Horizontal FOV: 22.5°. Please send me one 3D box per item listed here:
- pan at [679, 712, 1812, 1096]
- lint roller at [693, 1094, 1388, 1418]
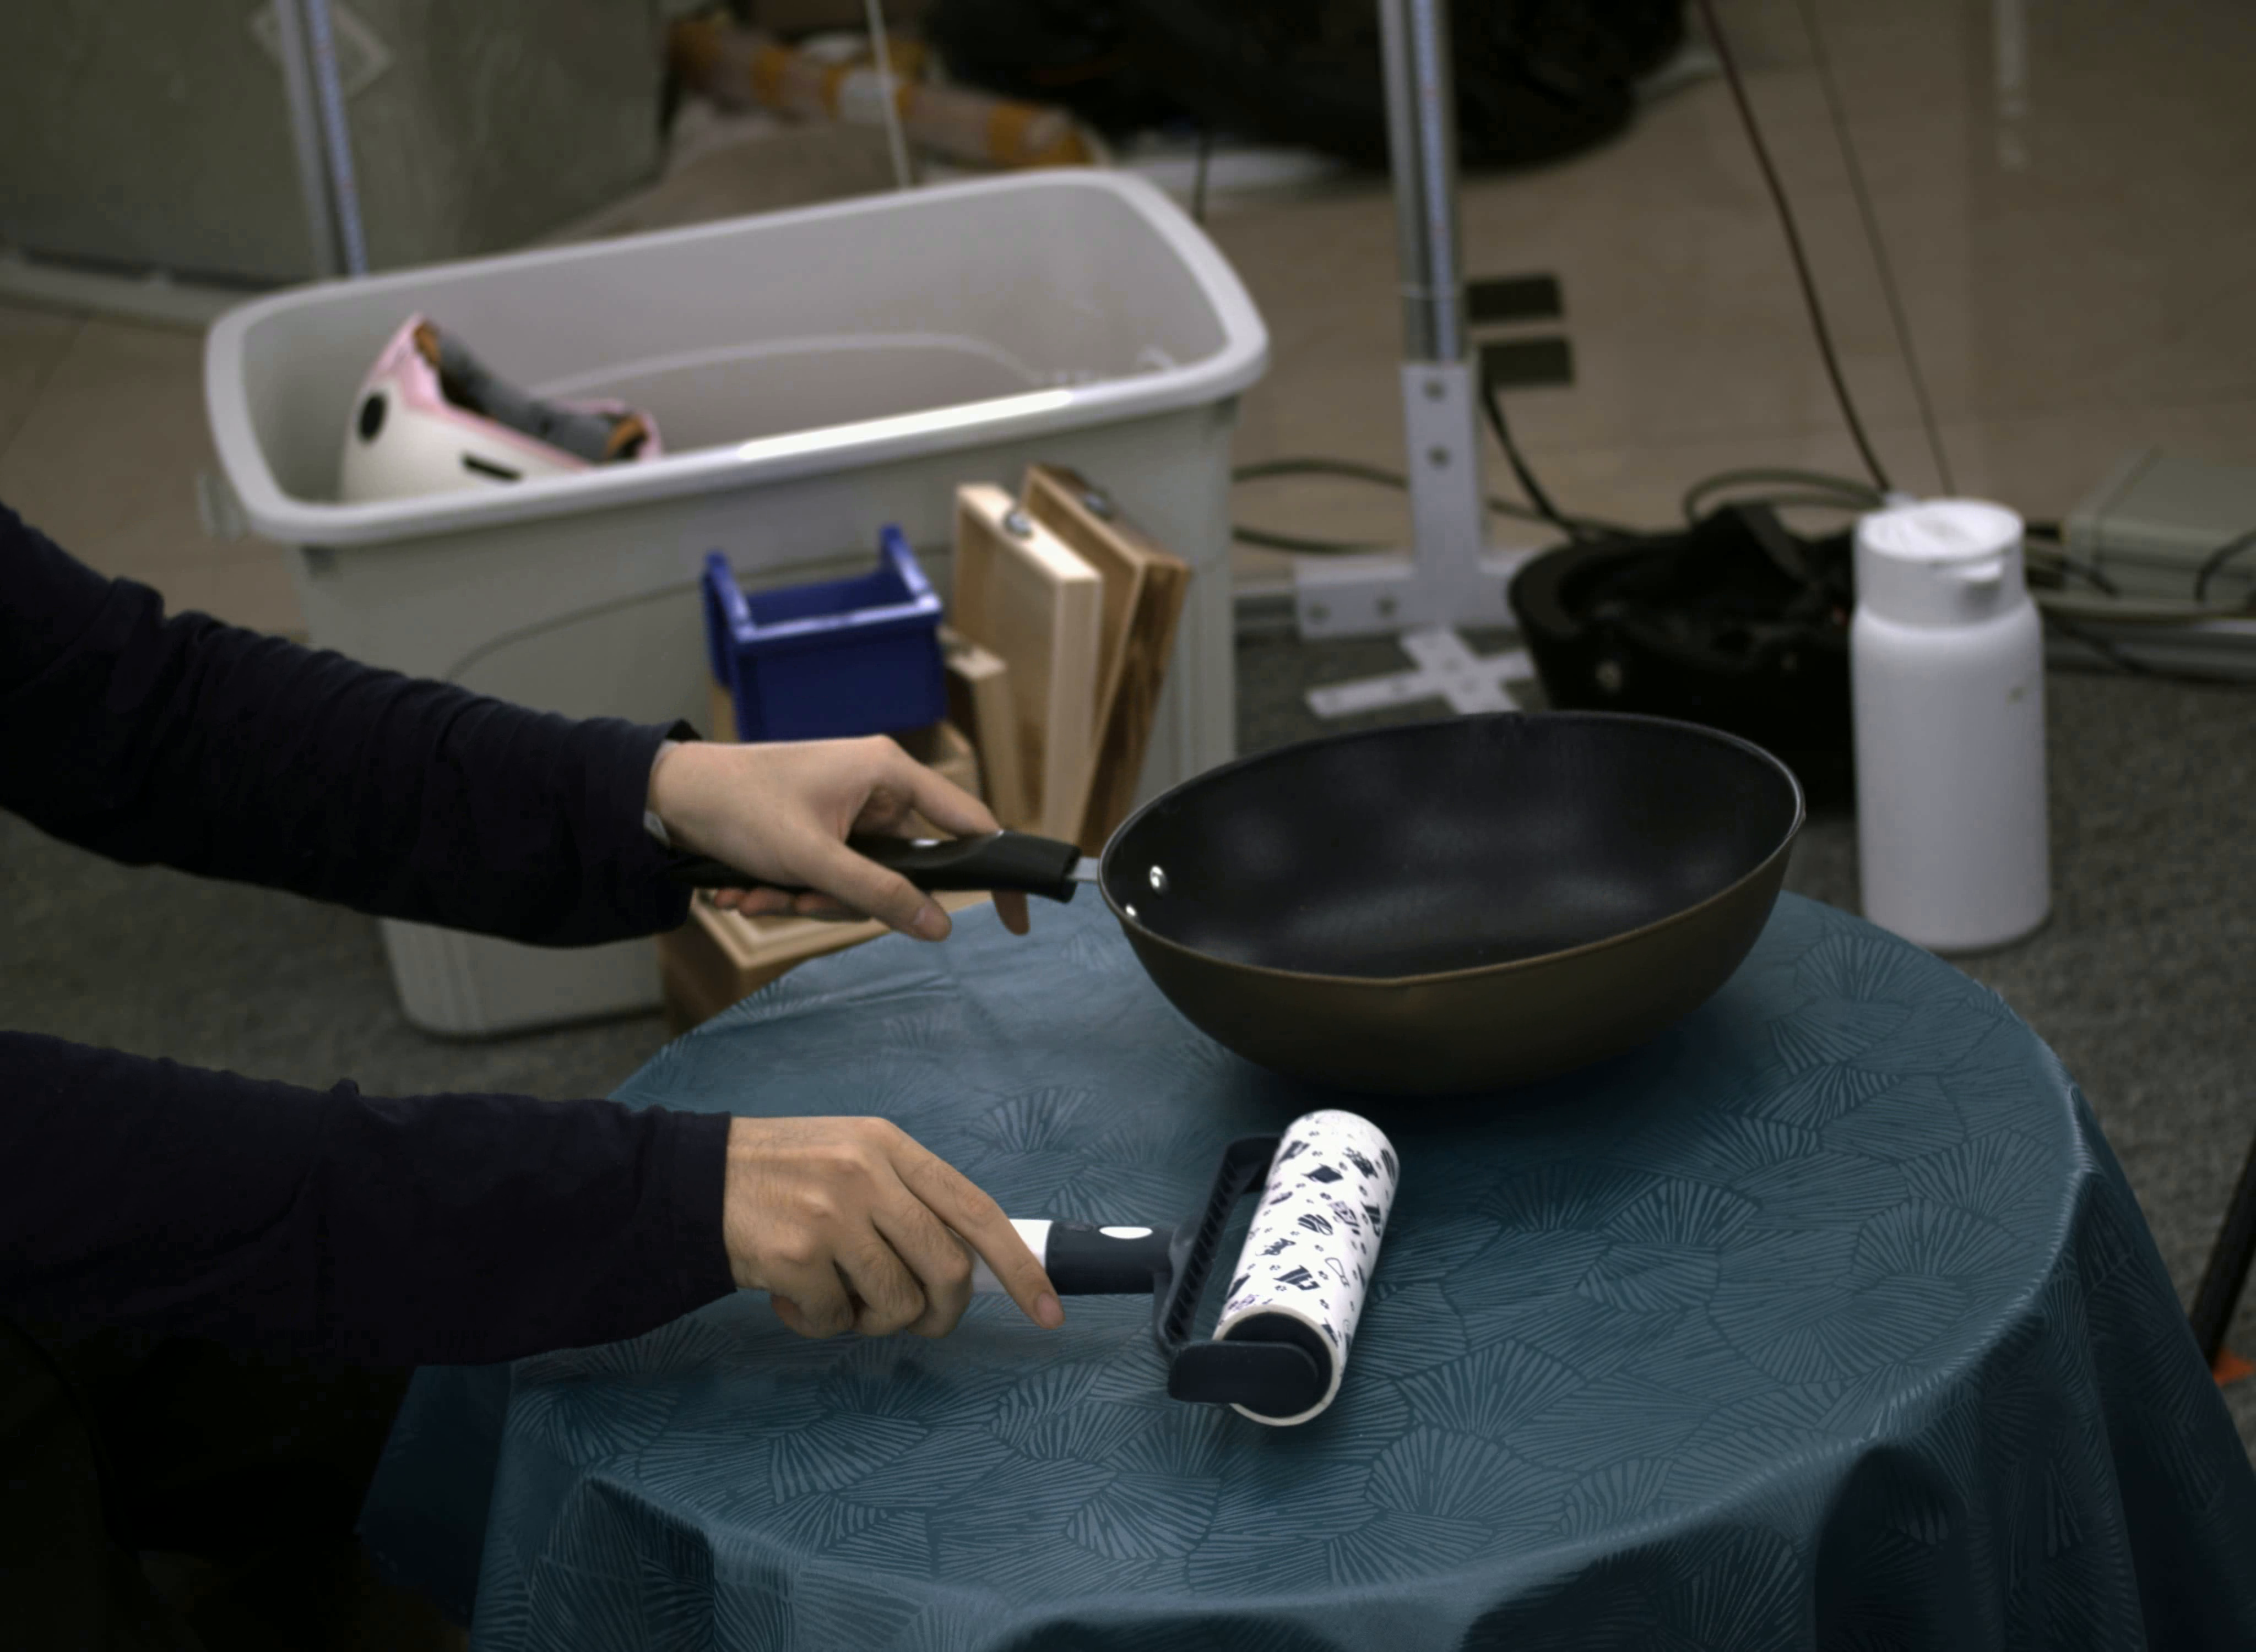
[{"bbox_3d":[0.043,0.039,2.247,0.462,0.088,0.284,-1,21,16],"label":"pan"},{"bbox_3d":[-0.038,0.155,2.043,0.246,0.051,0.174,-1,24,11],"label":"lint roller"}]
